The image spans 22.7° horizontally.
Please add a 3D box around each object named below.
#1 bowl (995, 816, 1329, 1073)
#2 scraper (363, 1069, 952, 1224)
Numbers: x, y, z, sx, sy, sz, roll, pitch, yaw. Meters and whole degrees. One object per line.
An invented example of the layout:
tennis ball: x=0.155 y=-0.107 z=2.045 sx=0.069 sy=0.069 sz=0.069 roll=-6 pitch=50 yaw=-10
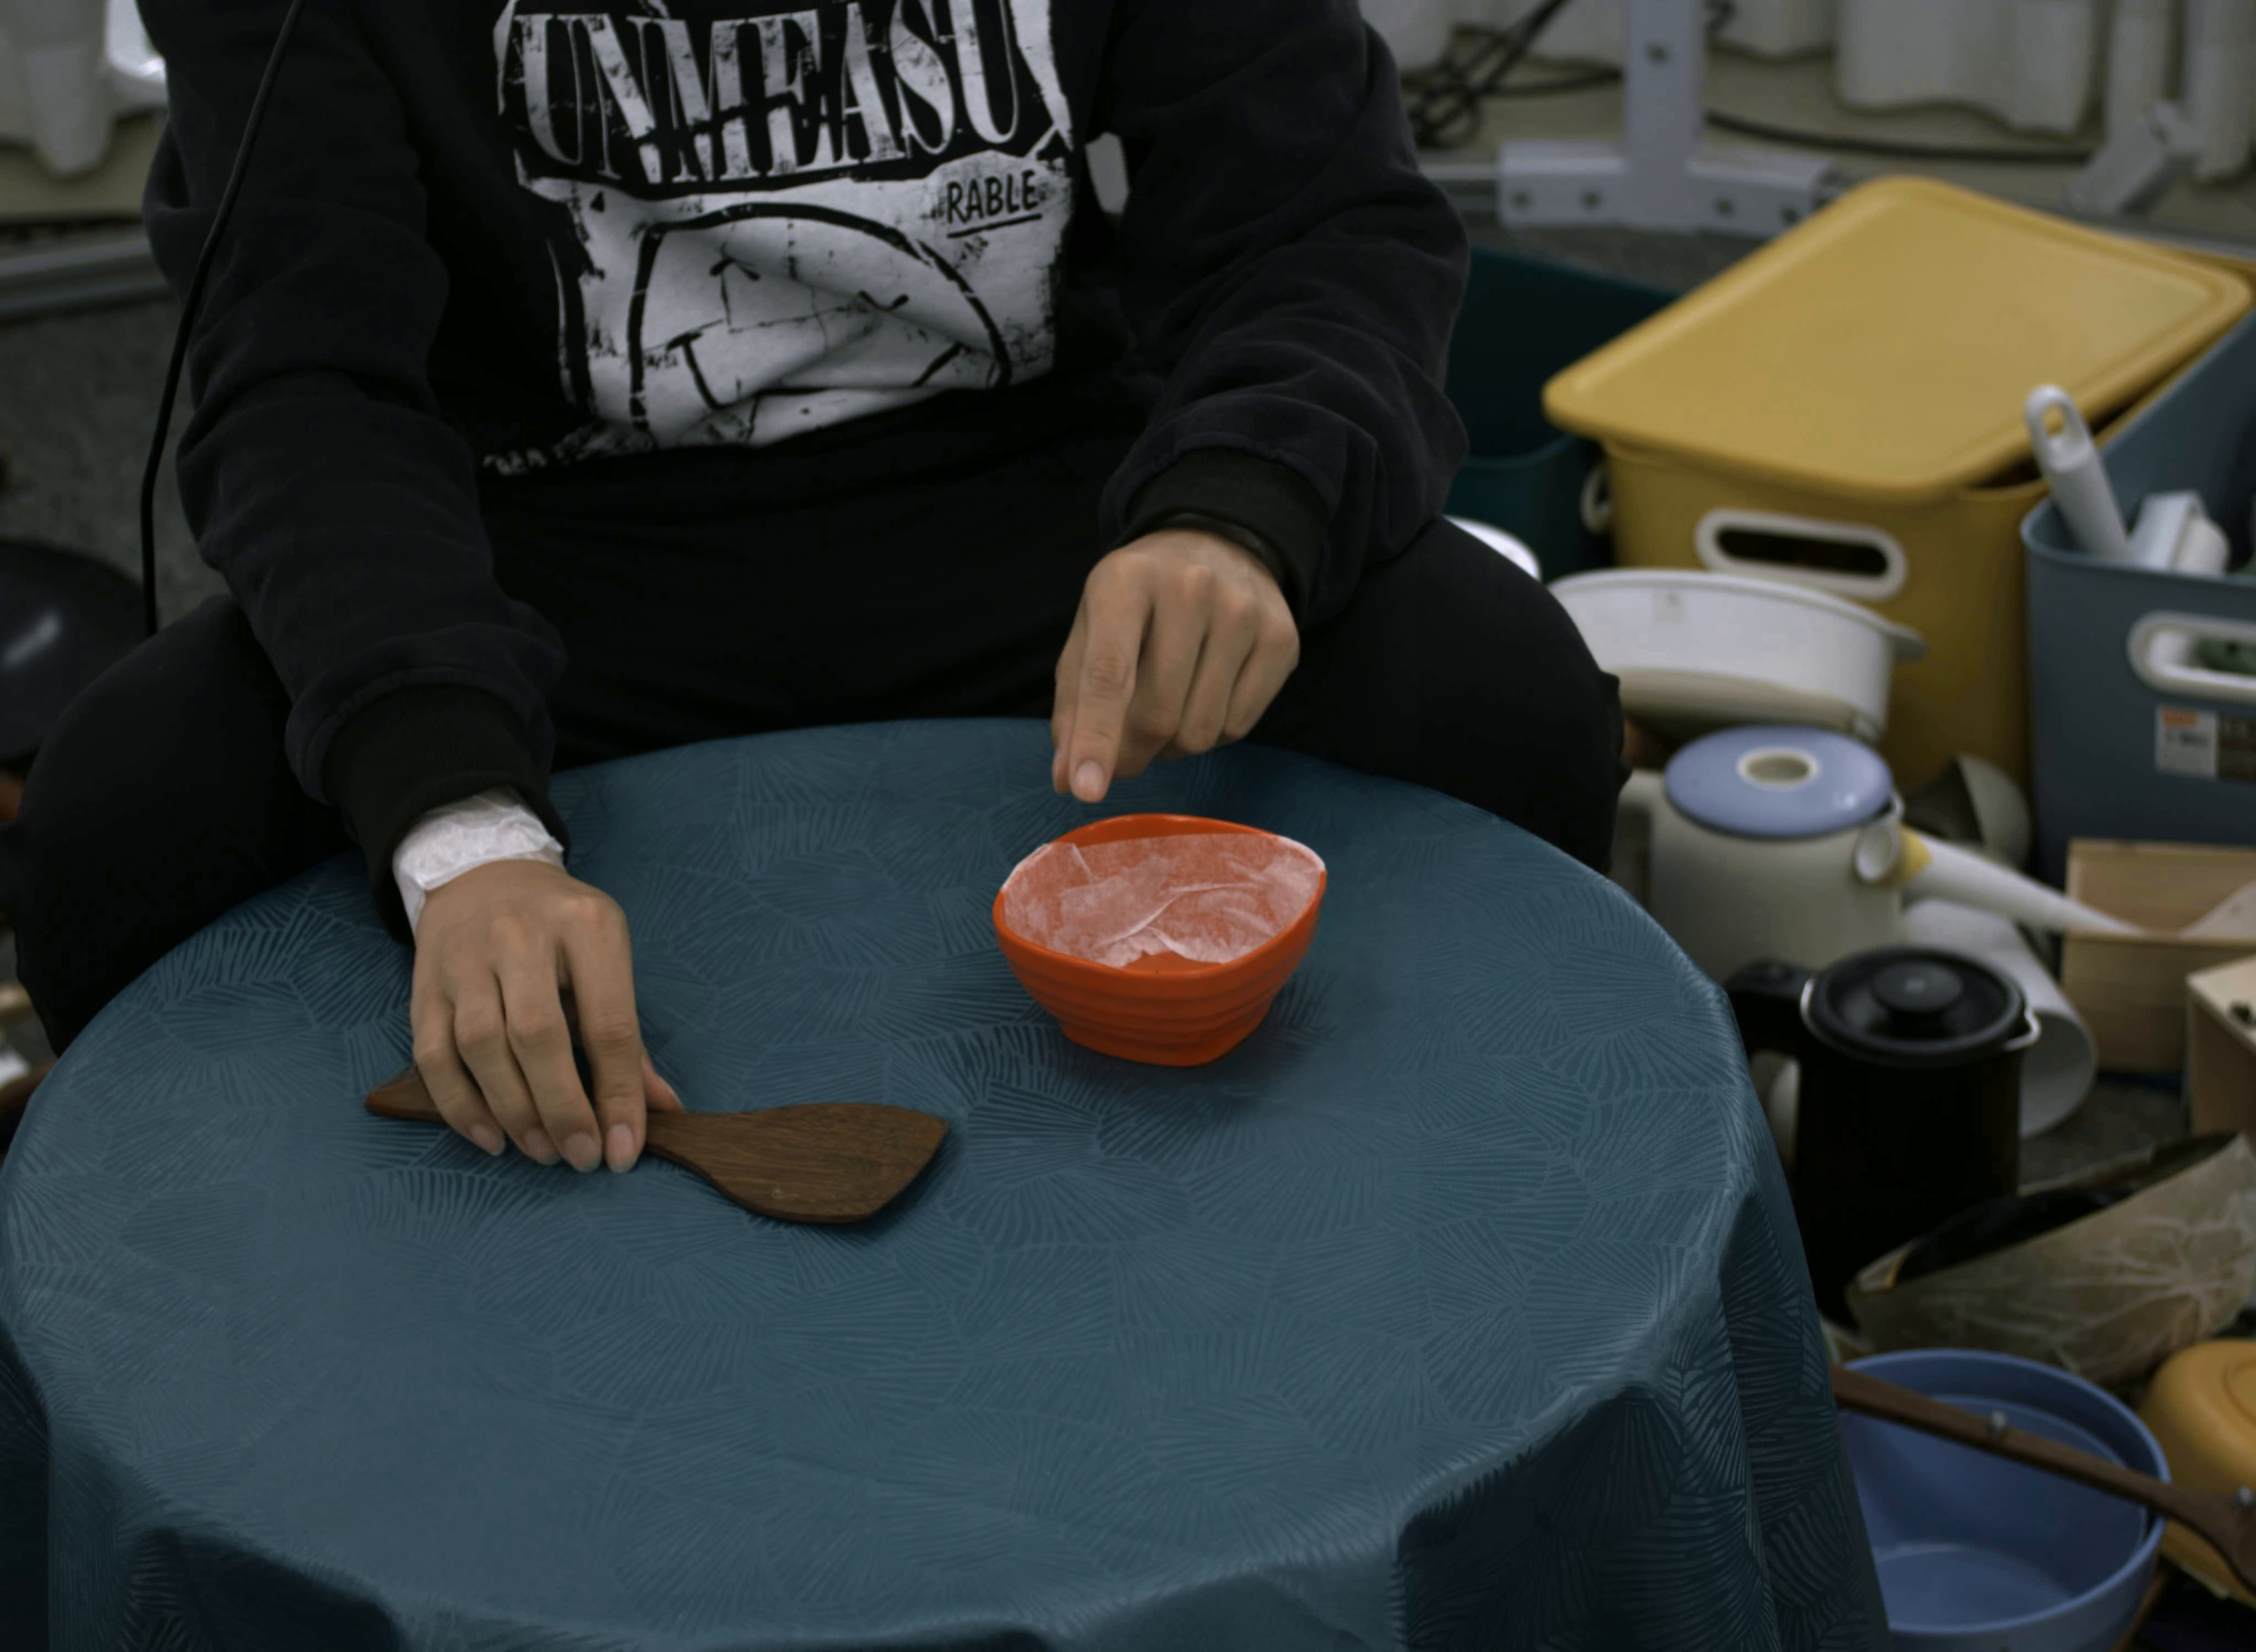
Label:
bowl: x=0.013 y=0.045 z=1.955 sx=0.118 sy=0.051 sz=0.121 roll=-3 pitch=29 yaw=2
scraper: x=-0.163 y=0.104 z=1.903 sx=0.210 sy=0.011 sz=0.077 roll=7 pitch=28 yaw=21
